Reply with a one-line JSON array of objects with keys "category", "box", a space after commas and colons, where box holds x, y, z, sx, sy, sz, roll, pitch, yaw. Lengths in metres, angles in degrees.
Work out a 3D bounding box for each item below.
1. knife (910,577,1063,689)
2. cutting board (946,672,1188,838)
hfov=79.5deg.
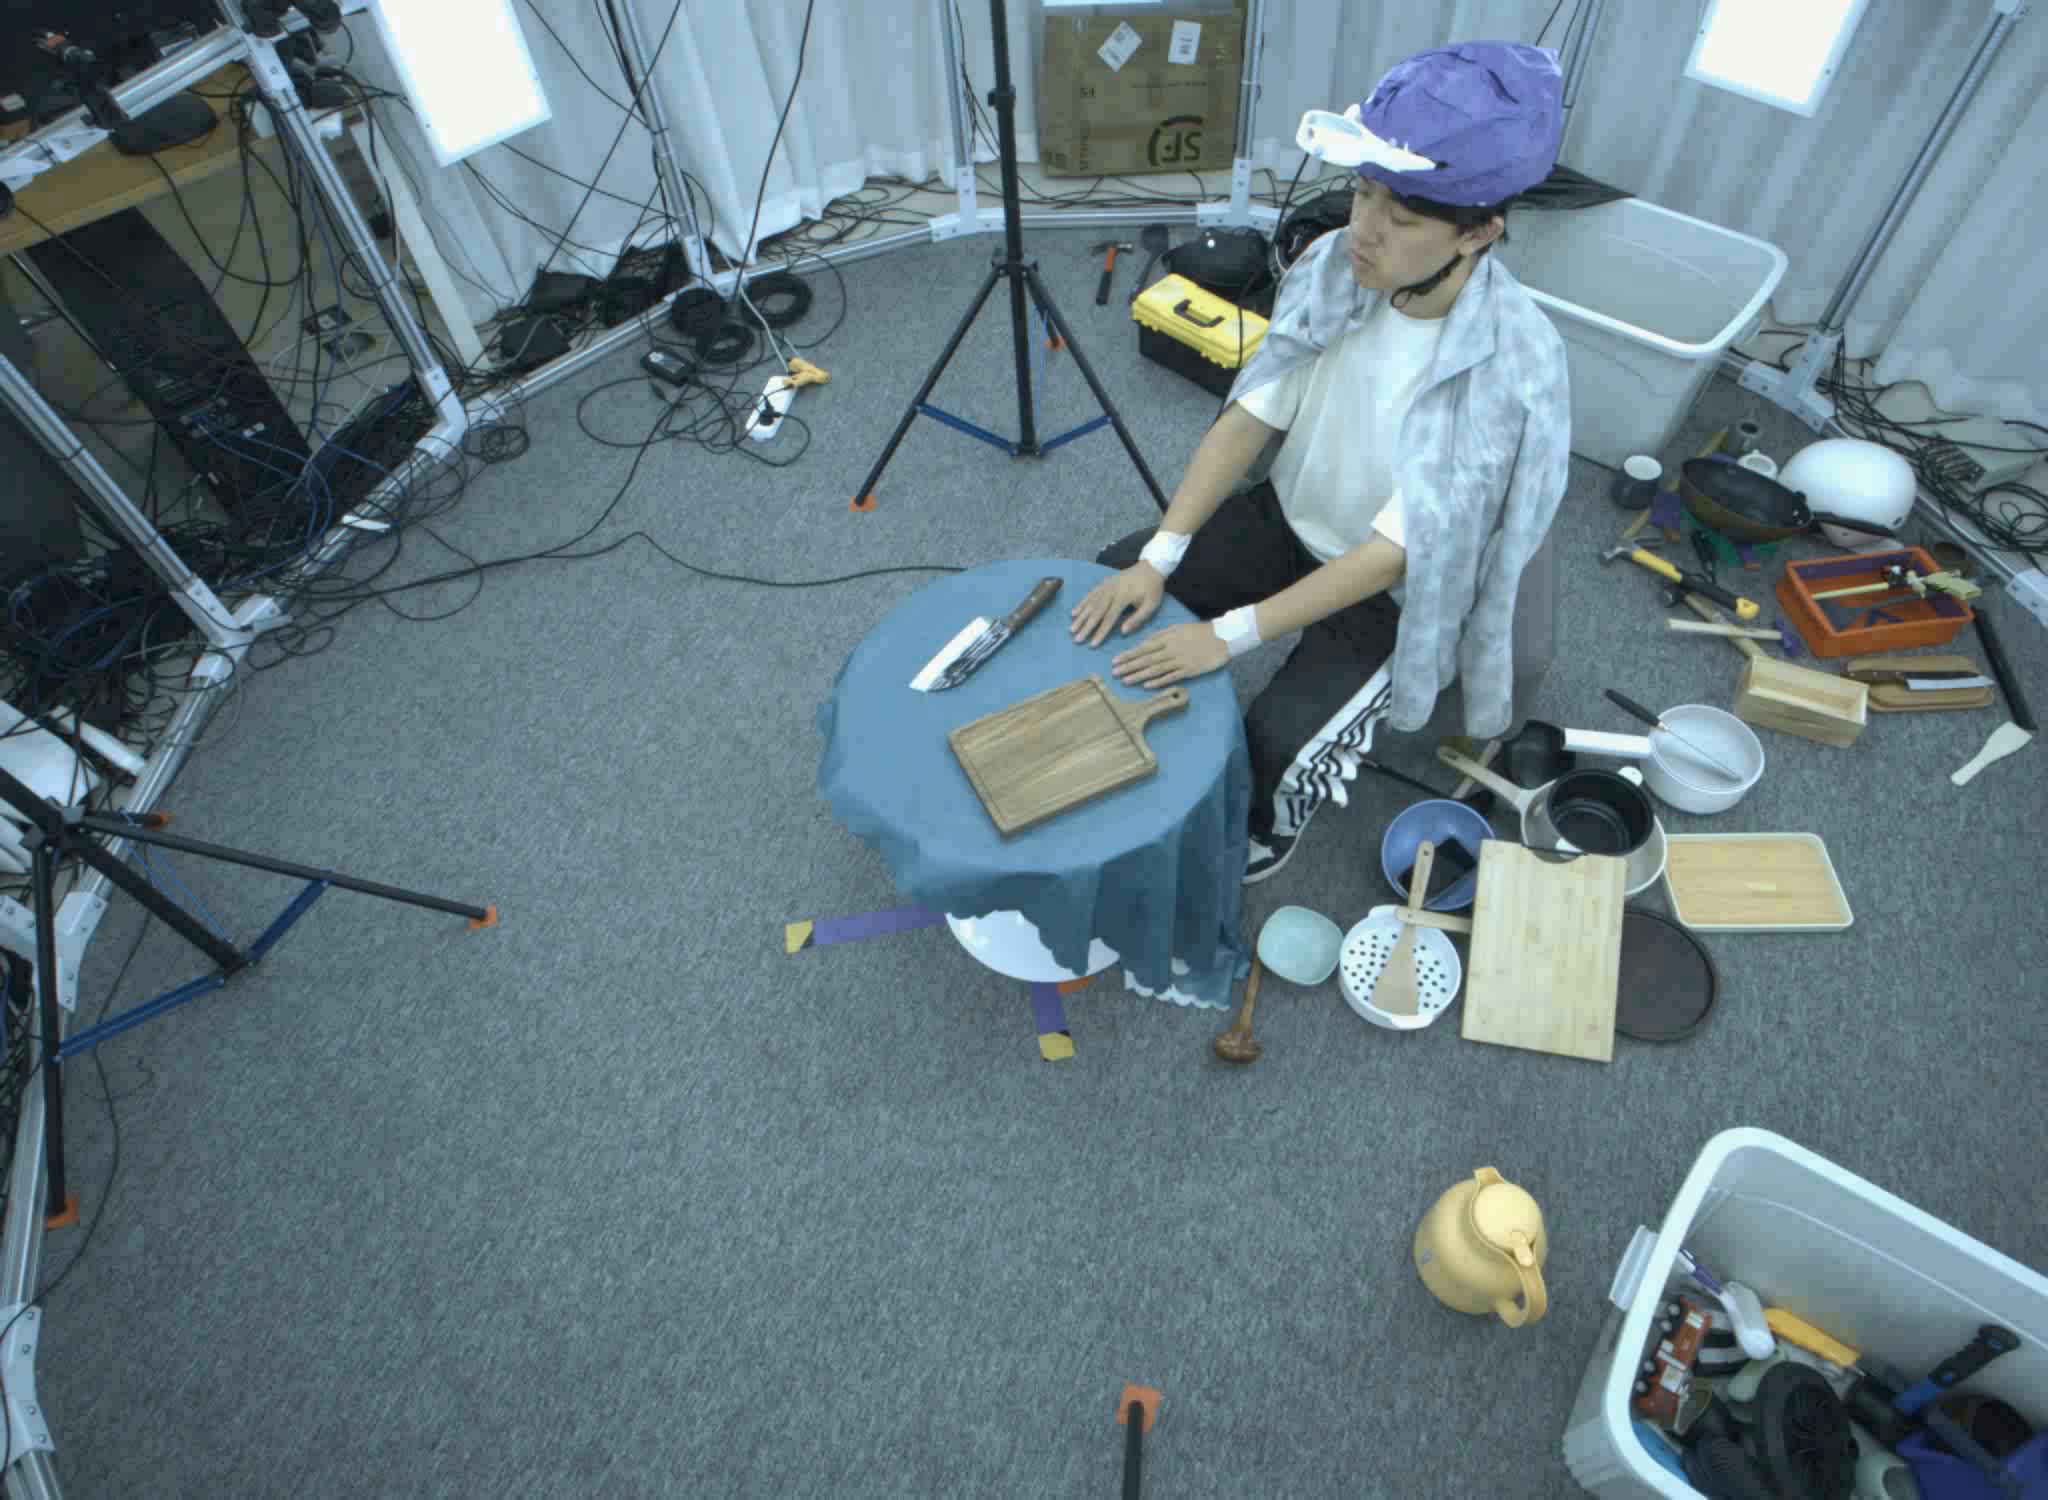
[{"category": "knife", "box": [-0.057, -0.184, 1.910, 0.067, 0.024, 0.301, 35, 65, 26]}, {"category": "cutting board", "box": [0.084, -0.017, 1.786, 0.355, 0.023, 0.197, -23, 58, -14]}]
